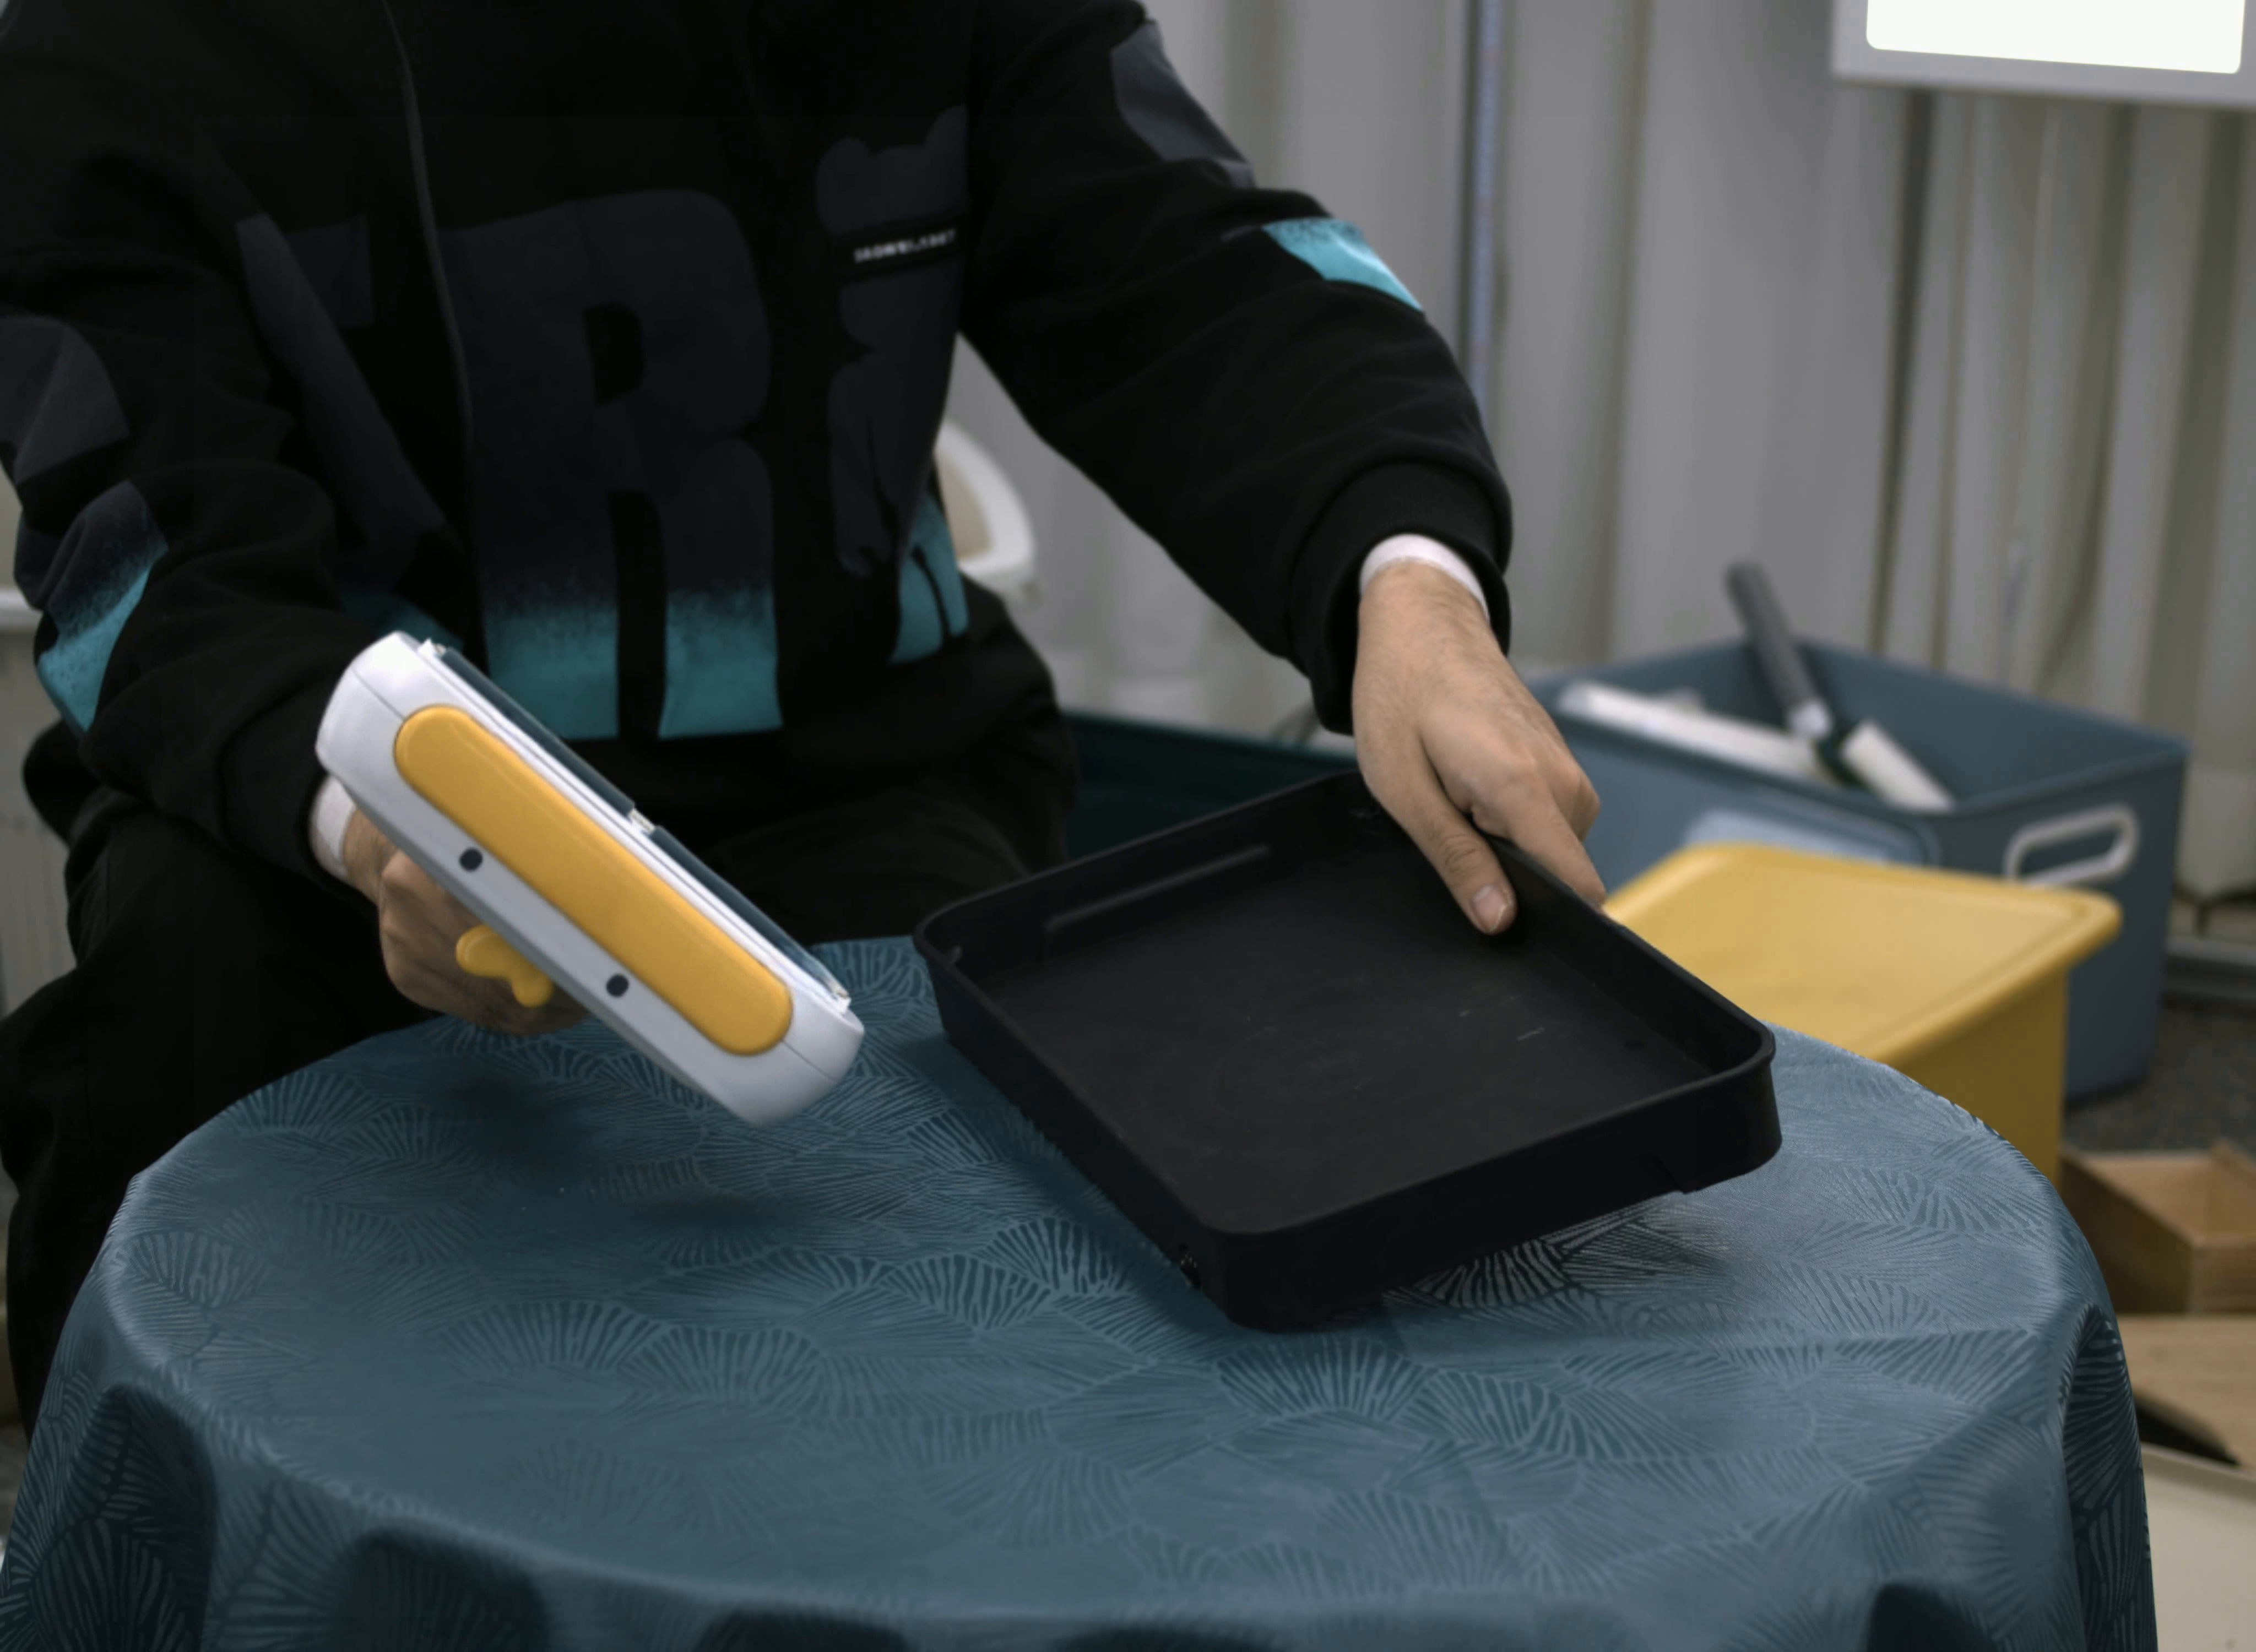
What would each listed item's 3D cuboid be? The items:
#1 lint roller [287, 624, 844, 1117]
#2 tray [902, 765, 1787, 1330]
[{"bbox_3d":[-0.178,0.024,1.634,0.193,0.074,0.192,36,-8,-3],"label":"lint roller"},{"bbox_3d":[0.061,0.062,1.656,0.184,0.037,0.314,-19,22,-16],"label":"tray"}]
